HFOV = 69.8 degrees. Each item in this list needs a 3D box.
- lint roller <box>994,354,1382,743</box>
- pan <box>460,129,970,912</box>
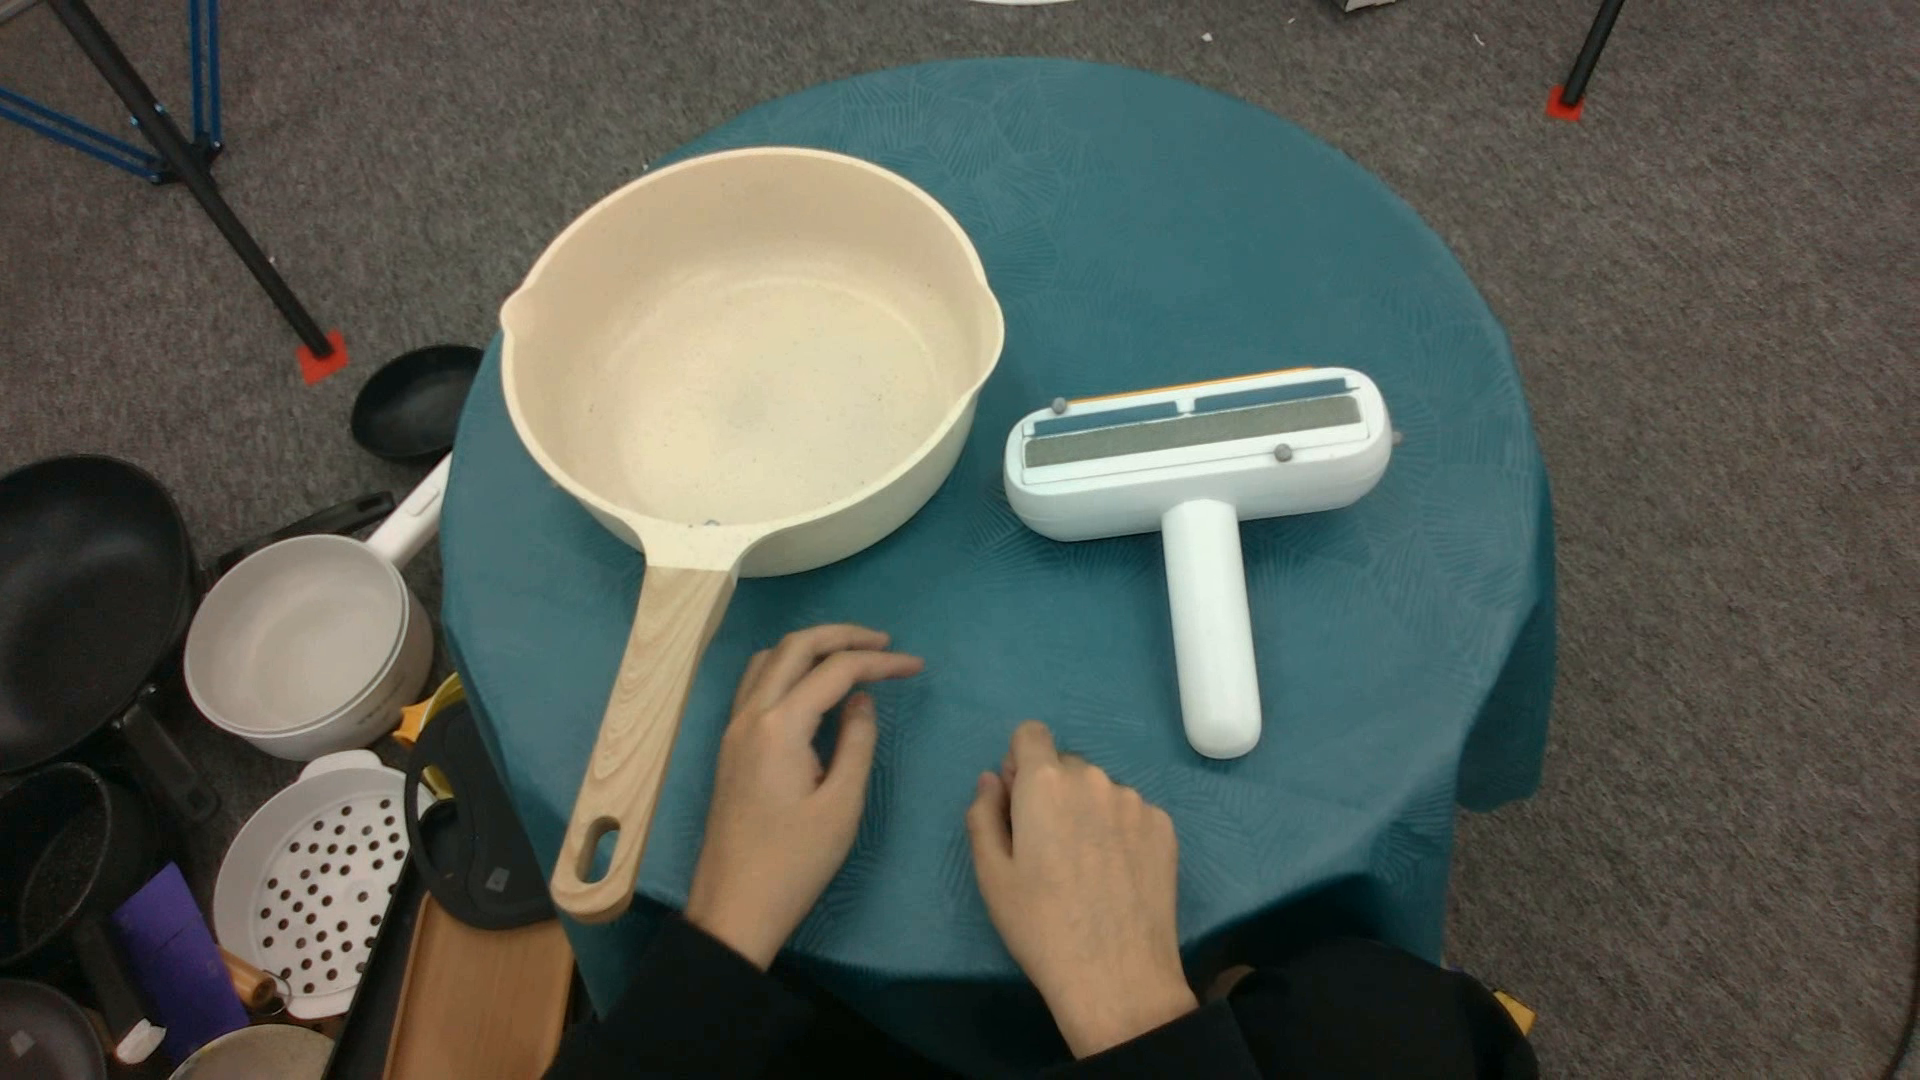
[{"bbox_3d":[0.113,0.001,0.681,0.193,0.074,0.193,-2,62,8],"label":"lint roller"},{"bbox_3d":[-0.134,-0.024,0.688,0.263,0.101,0.436,4,60,2],"label":"pan"}]
